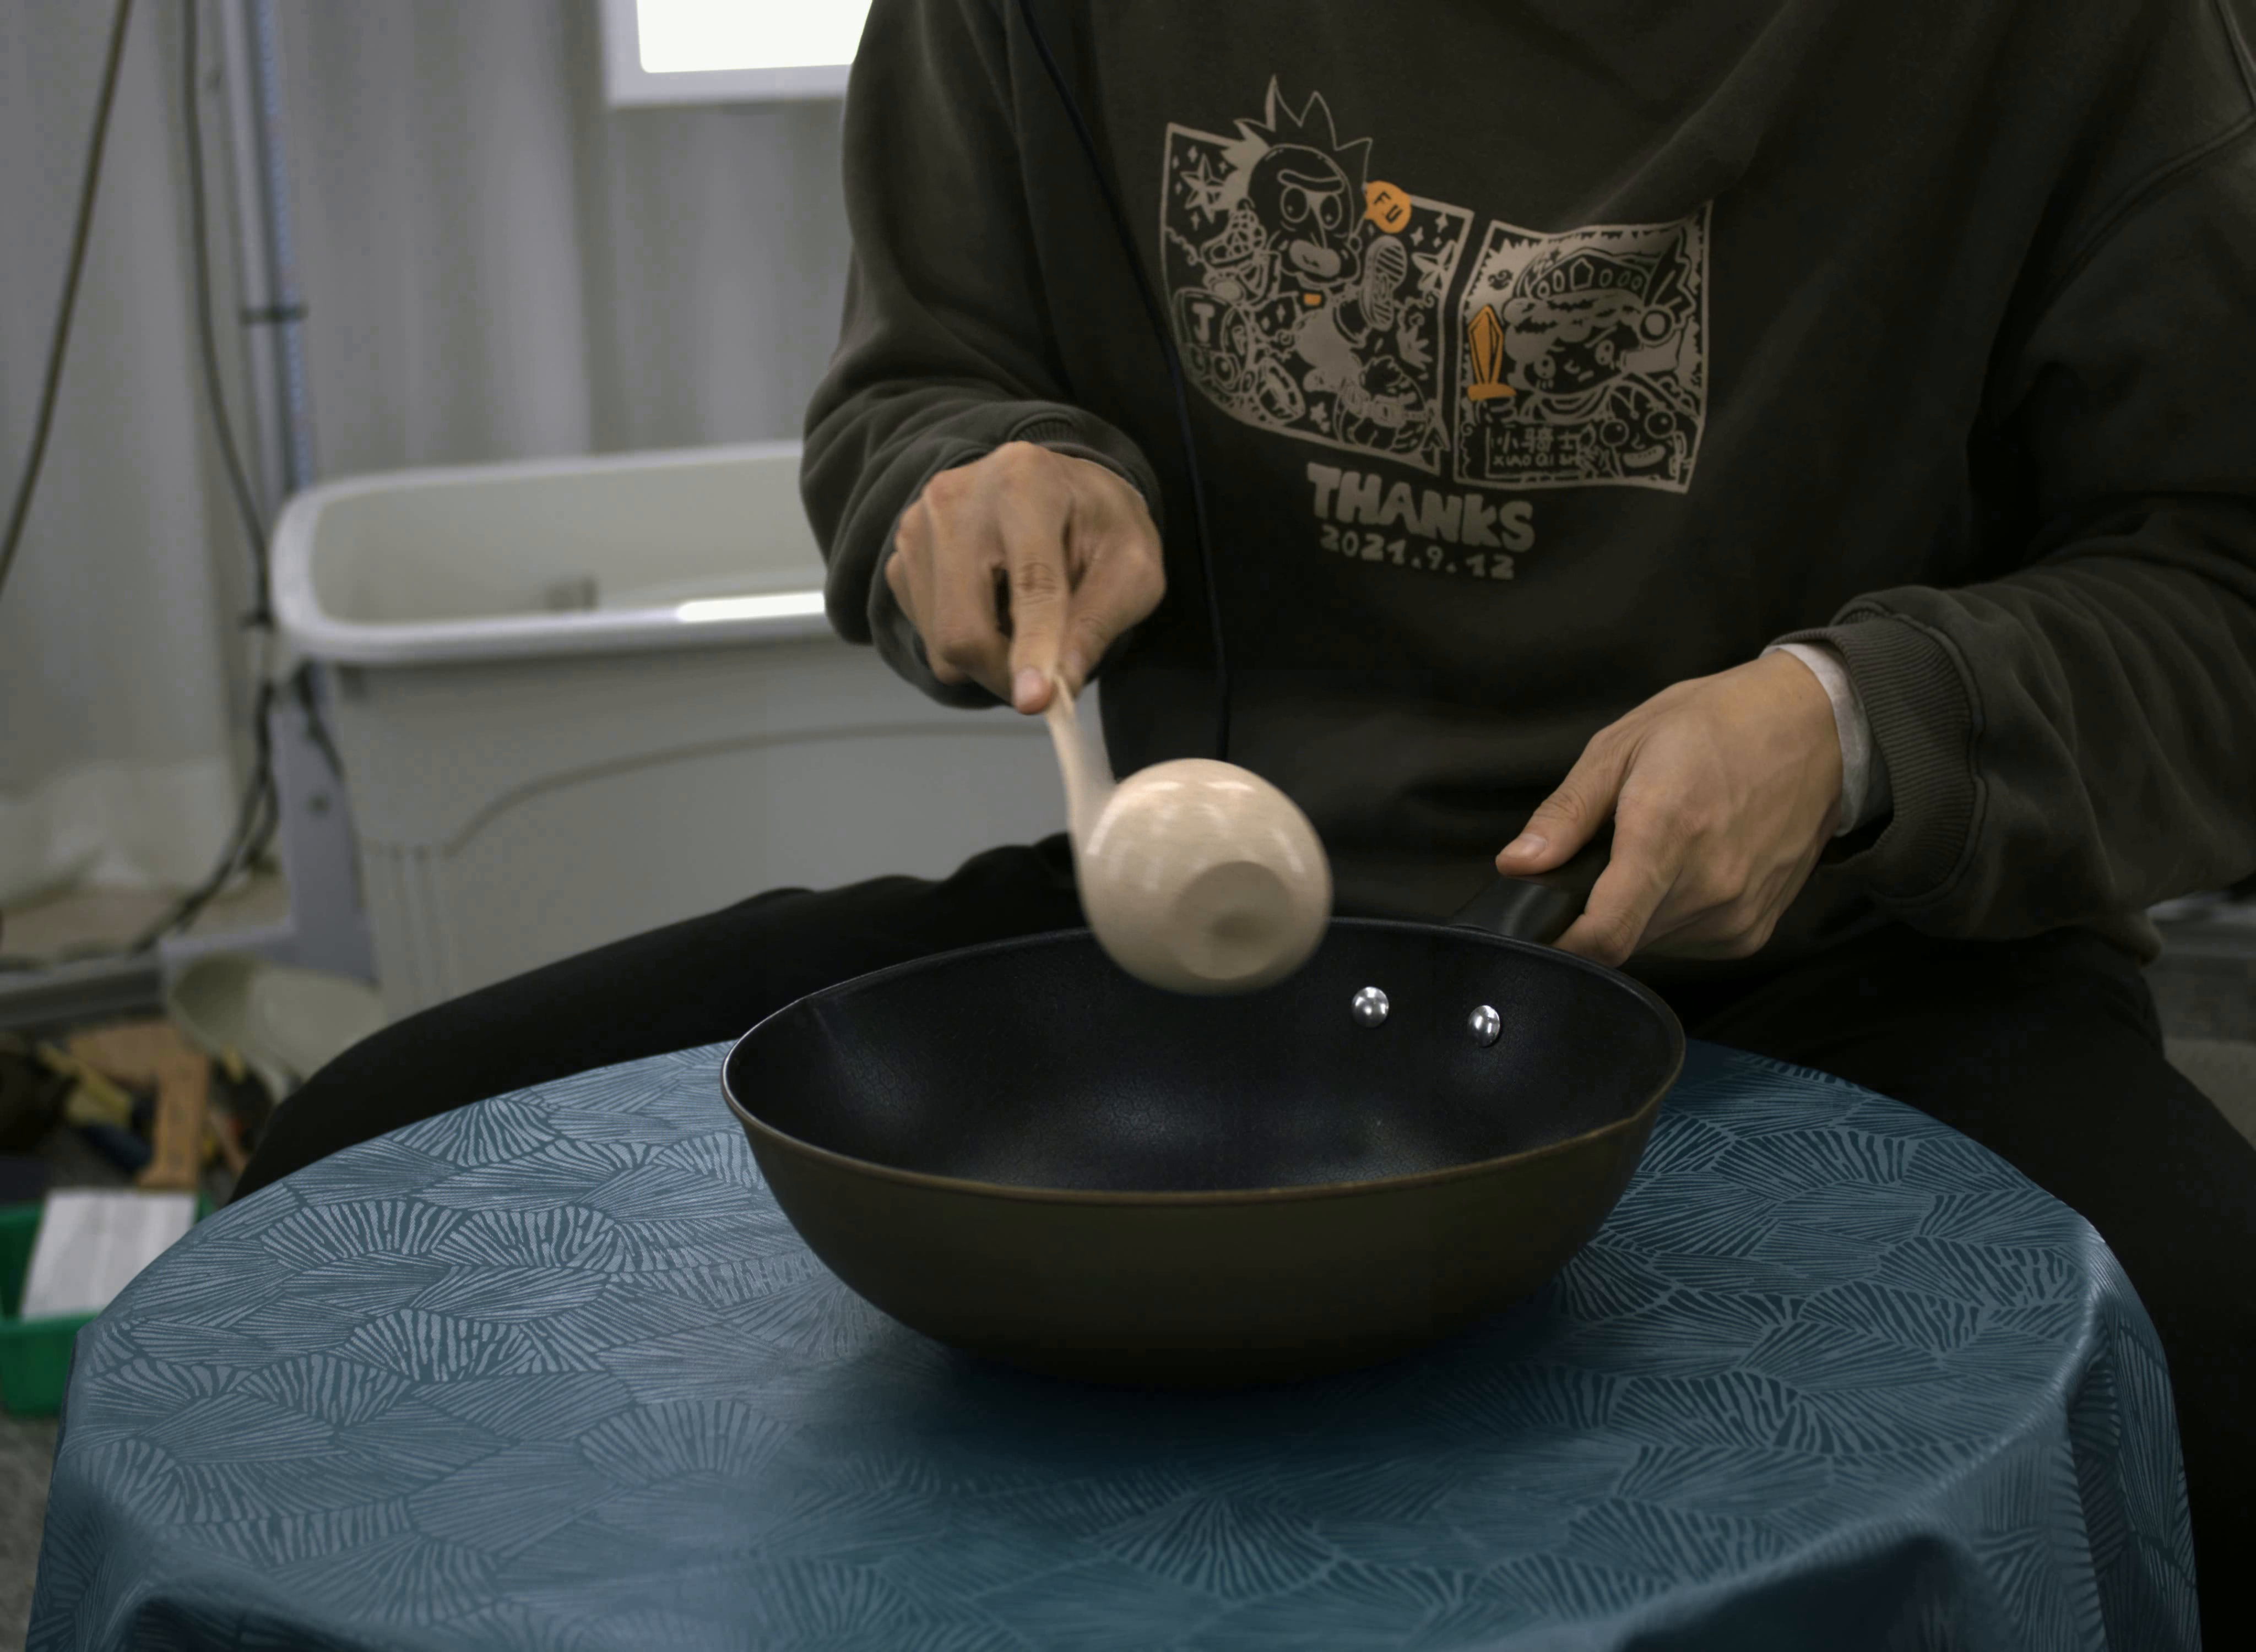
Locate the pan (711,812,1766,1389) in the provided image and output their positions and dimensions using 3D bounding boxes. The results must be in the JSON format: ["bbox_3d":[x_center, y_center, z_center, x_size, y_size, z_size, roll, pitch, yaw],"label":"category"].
[{"bbox_3d":[0.071,0.081,1.678,0.289,0.086,0.463,7,17,33],"label":"pan"}]

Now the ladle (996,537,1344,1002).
[{"bbox_3d":[0.010,-0.025,1.728,0.072,0.072,0.257,18,21,-18],"label":"ladle"}]
